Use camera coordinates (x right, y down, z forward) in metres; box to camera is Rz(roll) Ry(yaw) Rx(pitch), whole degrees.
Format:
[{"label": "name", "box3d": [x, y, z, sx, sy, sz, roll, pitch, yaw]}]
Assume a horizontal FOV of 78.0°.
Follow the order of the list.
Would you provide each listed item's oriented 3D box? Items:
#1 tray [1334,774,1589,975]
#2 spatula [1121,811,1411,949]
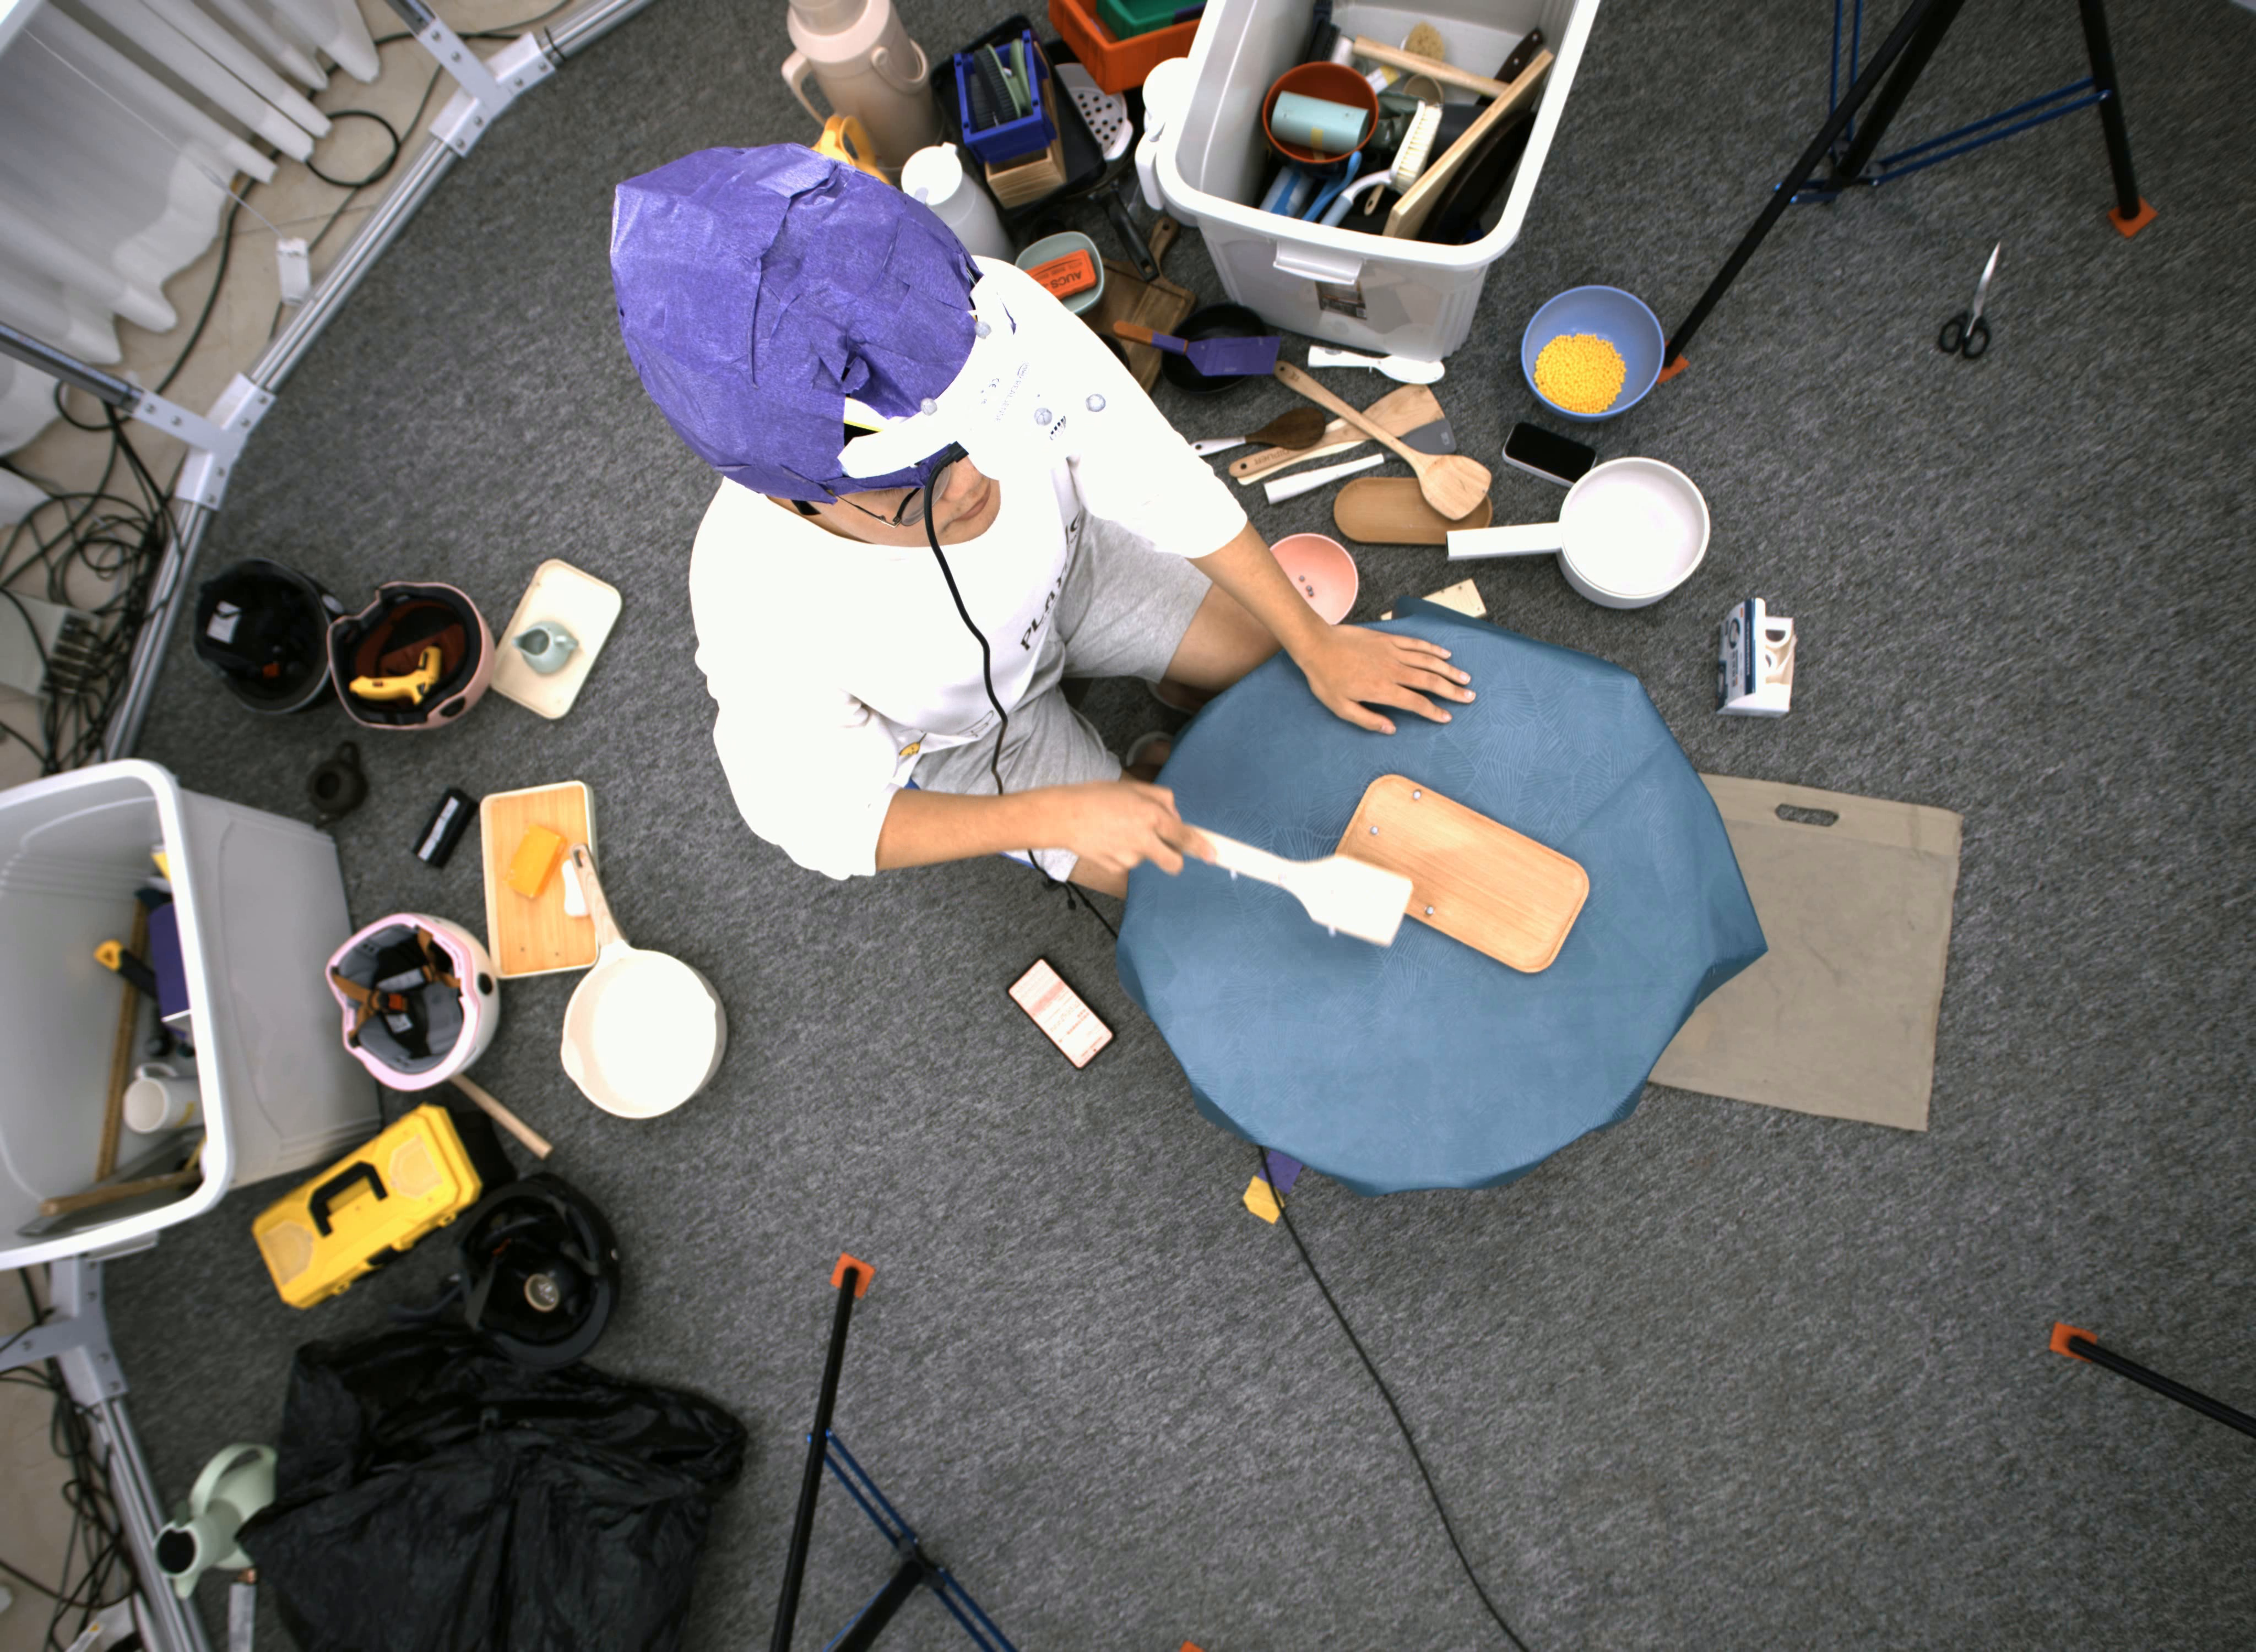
[{"label": "tray", "box3d": [0.347, 0.048, 1.438, 0.250, 0.023, 0.131, 29, 95, 11]}, {"label": "spatula", "box3d": [0.132, 0.044, 1.355, 0.293, 0.010, 0.073, 19, 101, -6]}]
